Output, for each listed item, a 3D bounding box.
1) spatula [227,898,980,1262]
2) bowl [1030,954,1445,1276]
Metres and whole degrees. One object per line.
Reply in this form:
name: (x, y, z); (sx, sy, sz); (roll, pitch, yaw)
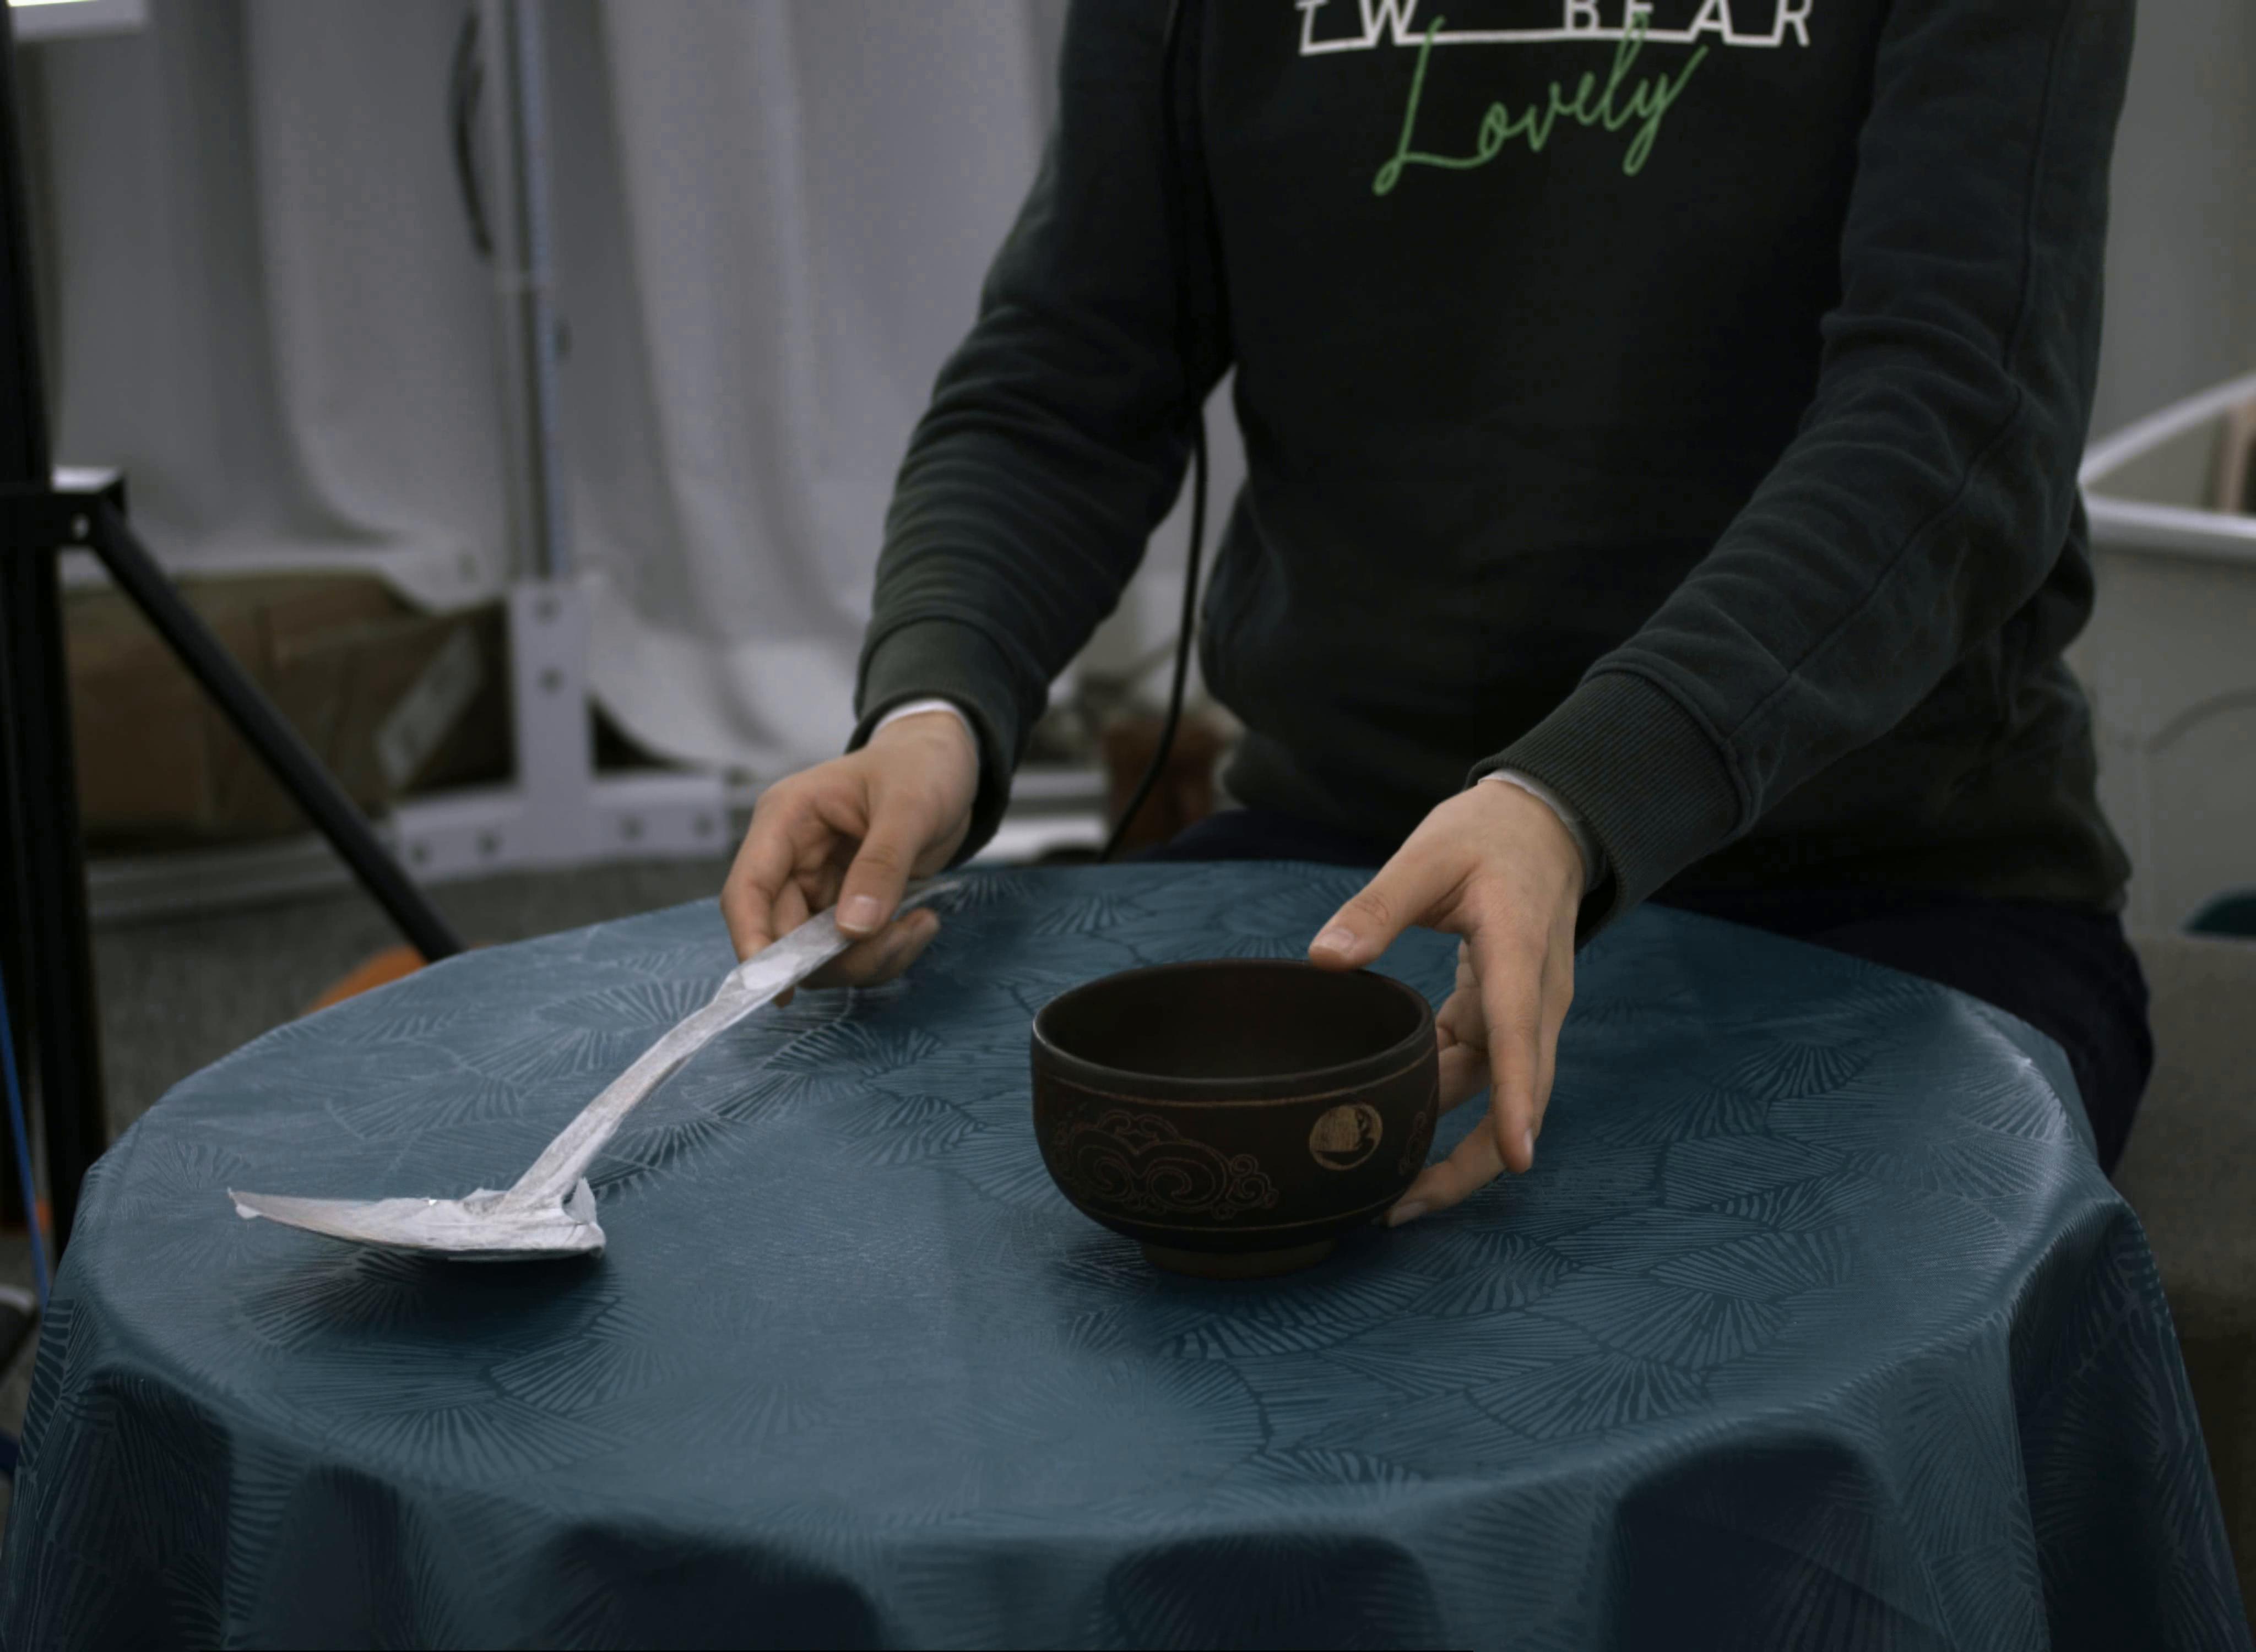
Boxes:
spatula: (-0.138, 0.068, 1.621); (0.100, 0.044, 0.360); (5, 23, 26)
bowl: (0.031, 0.086, 1.502); (0.117, 0.070, 0.118); (-1, 15, -1)
